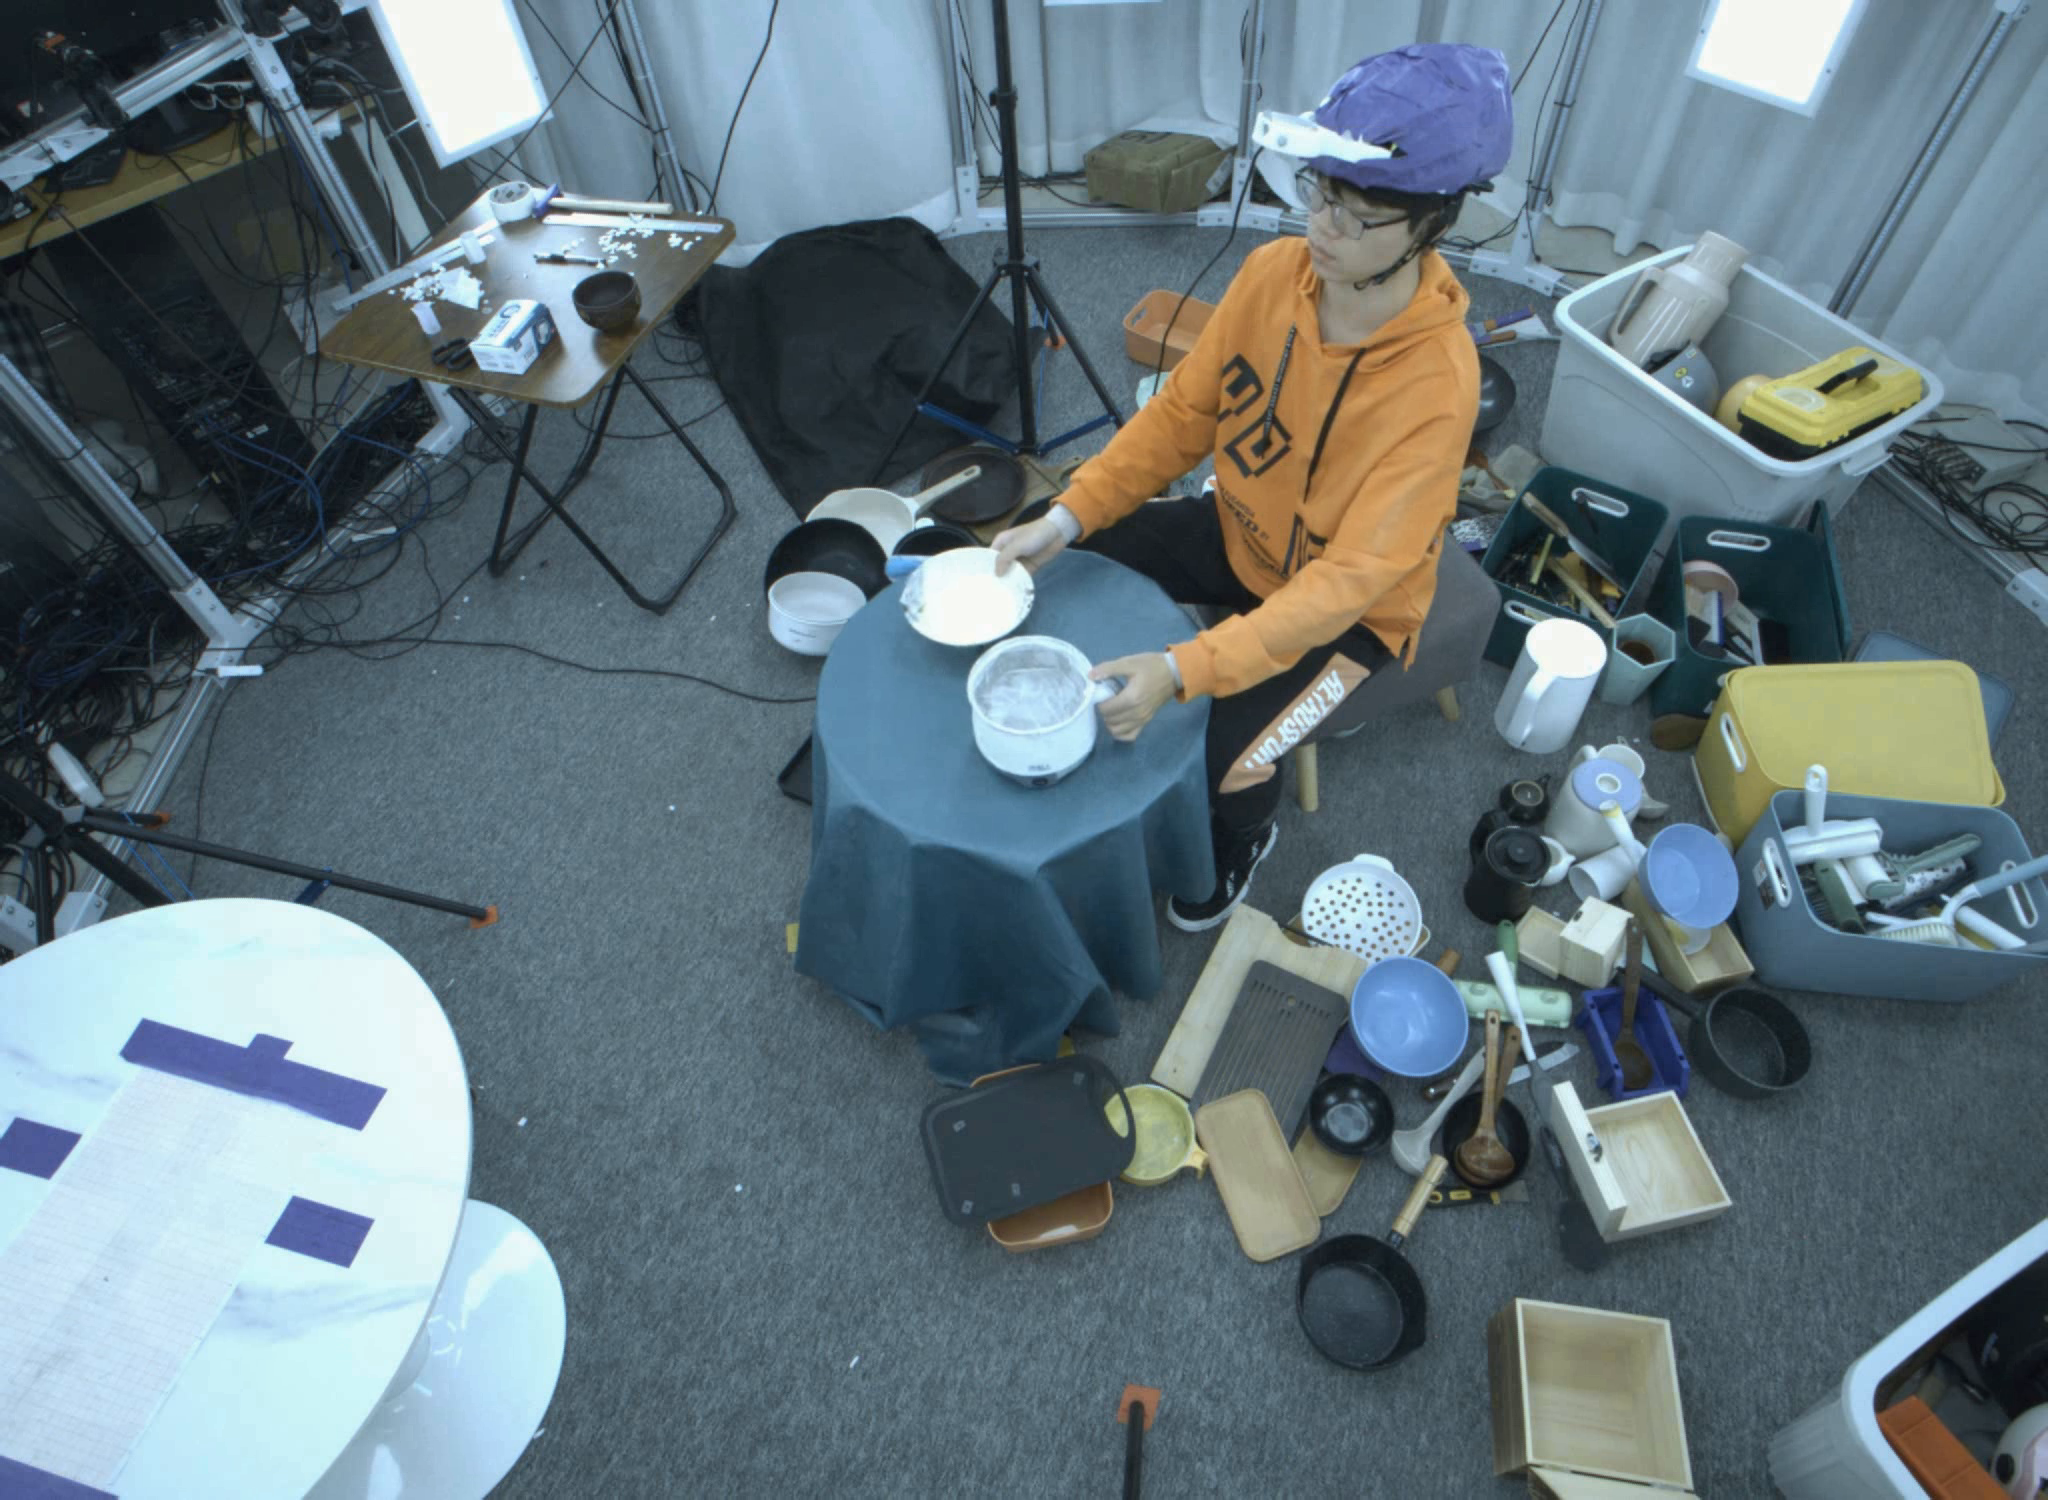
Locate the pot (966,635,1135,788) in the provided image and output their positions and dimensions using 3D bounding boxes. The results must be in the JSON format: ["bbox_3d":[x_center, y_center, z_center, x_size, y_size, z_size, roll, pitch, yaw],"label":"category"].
[{"bbox_3d":[0.040,-0.057,1.741,0.234,0.138,0.176,-7,55,-2],"label":"pot"}]

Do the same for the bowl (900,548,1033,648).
[{"bbox_3d":[-0.087,-0.215,1.896,0.204,0.079,0.202,0,54,1],"label":"bowl"}]
